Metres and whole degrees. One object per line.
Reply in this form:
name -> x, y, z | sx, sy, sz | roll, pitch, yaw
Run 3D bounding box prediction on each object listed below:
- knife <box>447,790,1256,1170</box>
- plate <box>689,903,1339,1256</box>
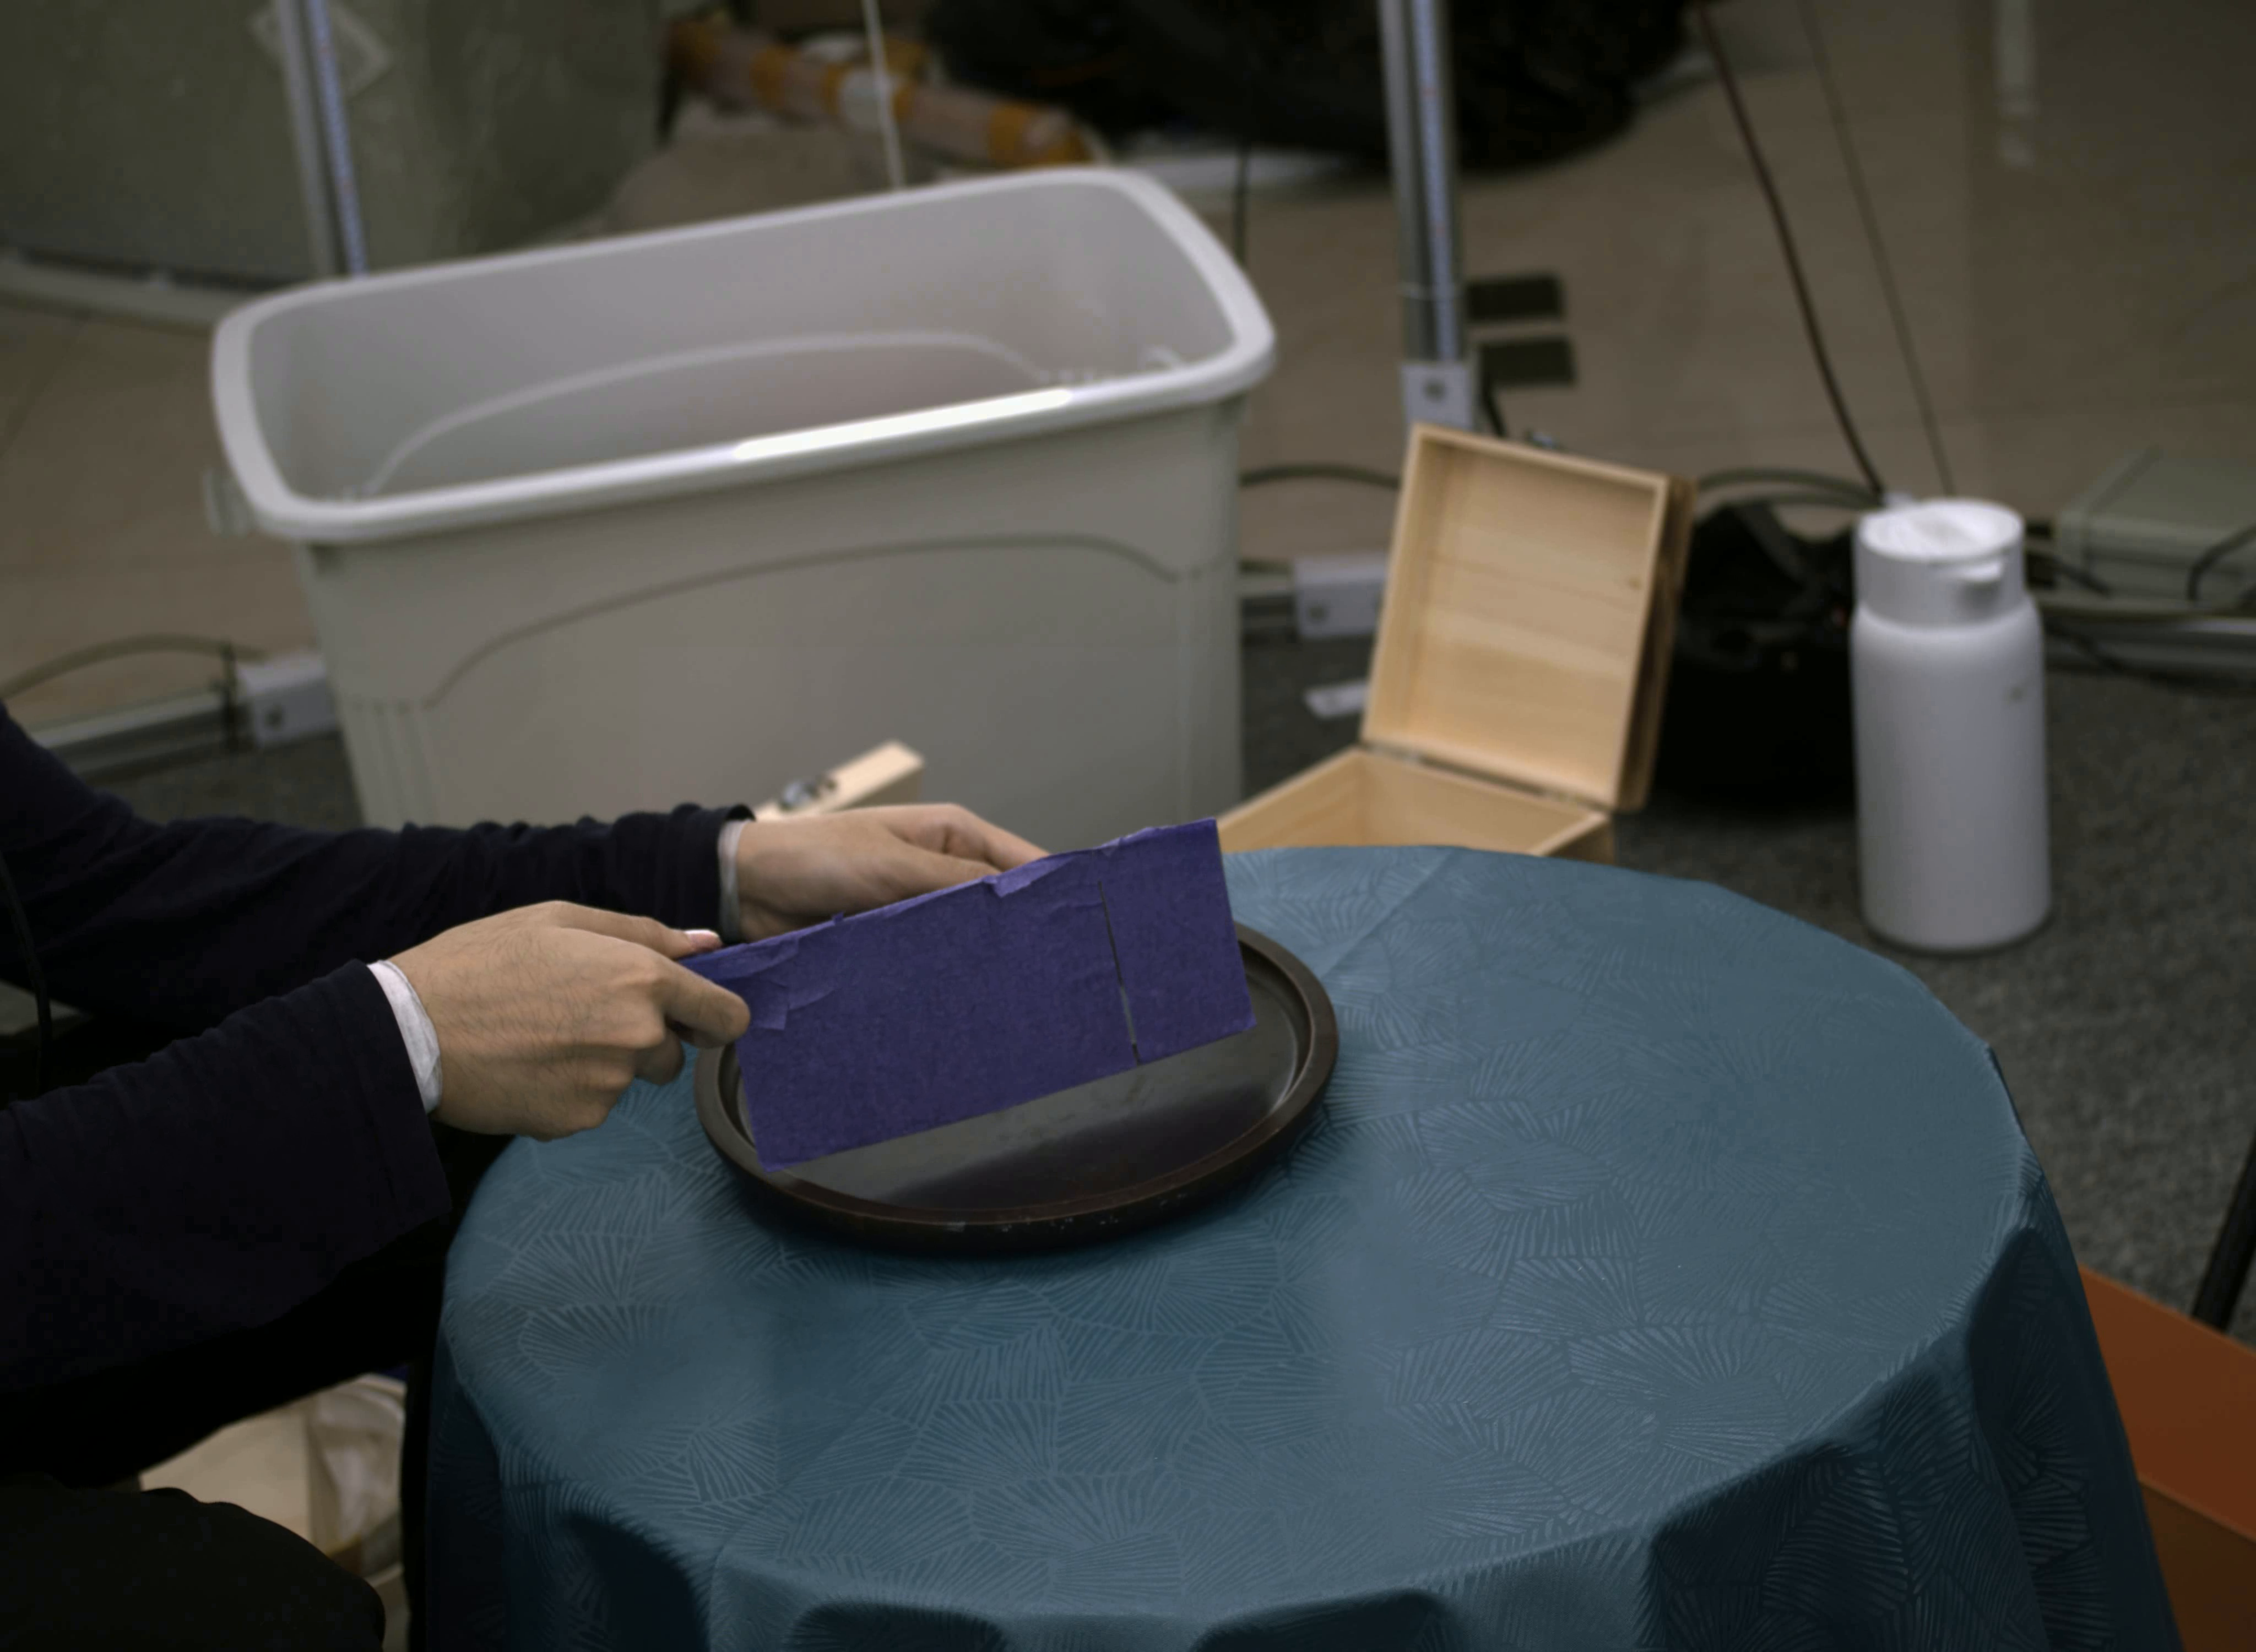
knife -> -0.097, 0.076, 2.135 | 0.314, 0.105, 0.032 | -16, 17, -17
plate -> -0.045, 0.095, 2.209 | 0.254, 0.029, 0.250 | -4, 30, 2
